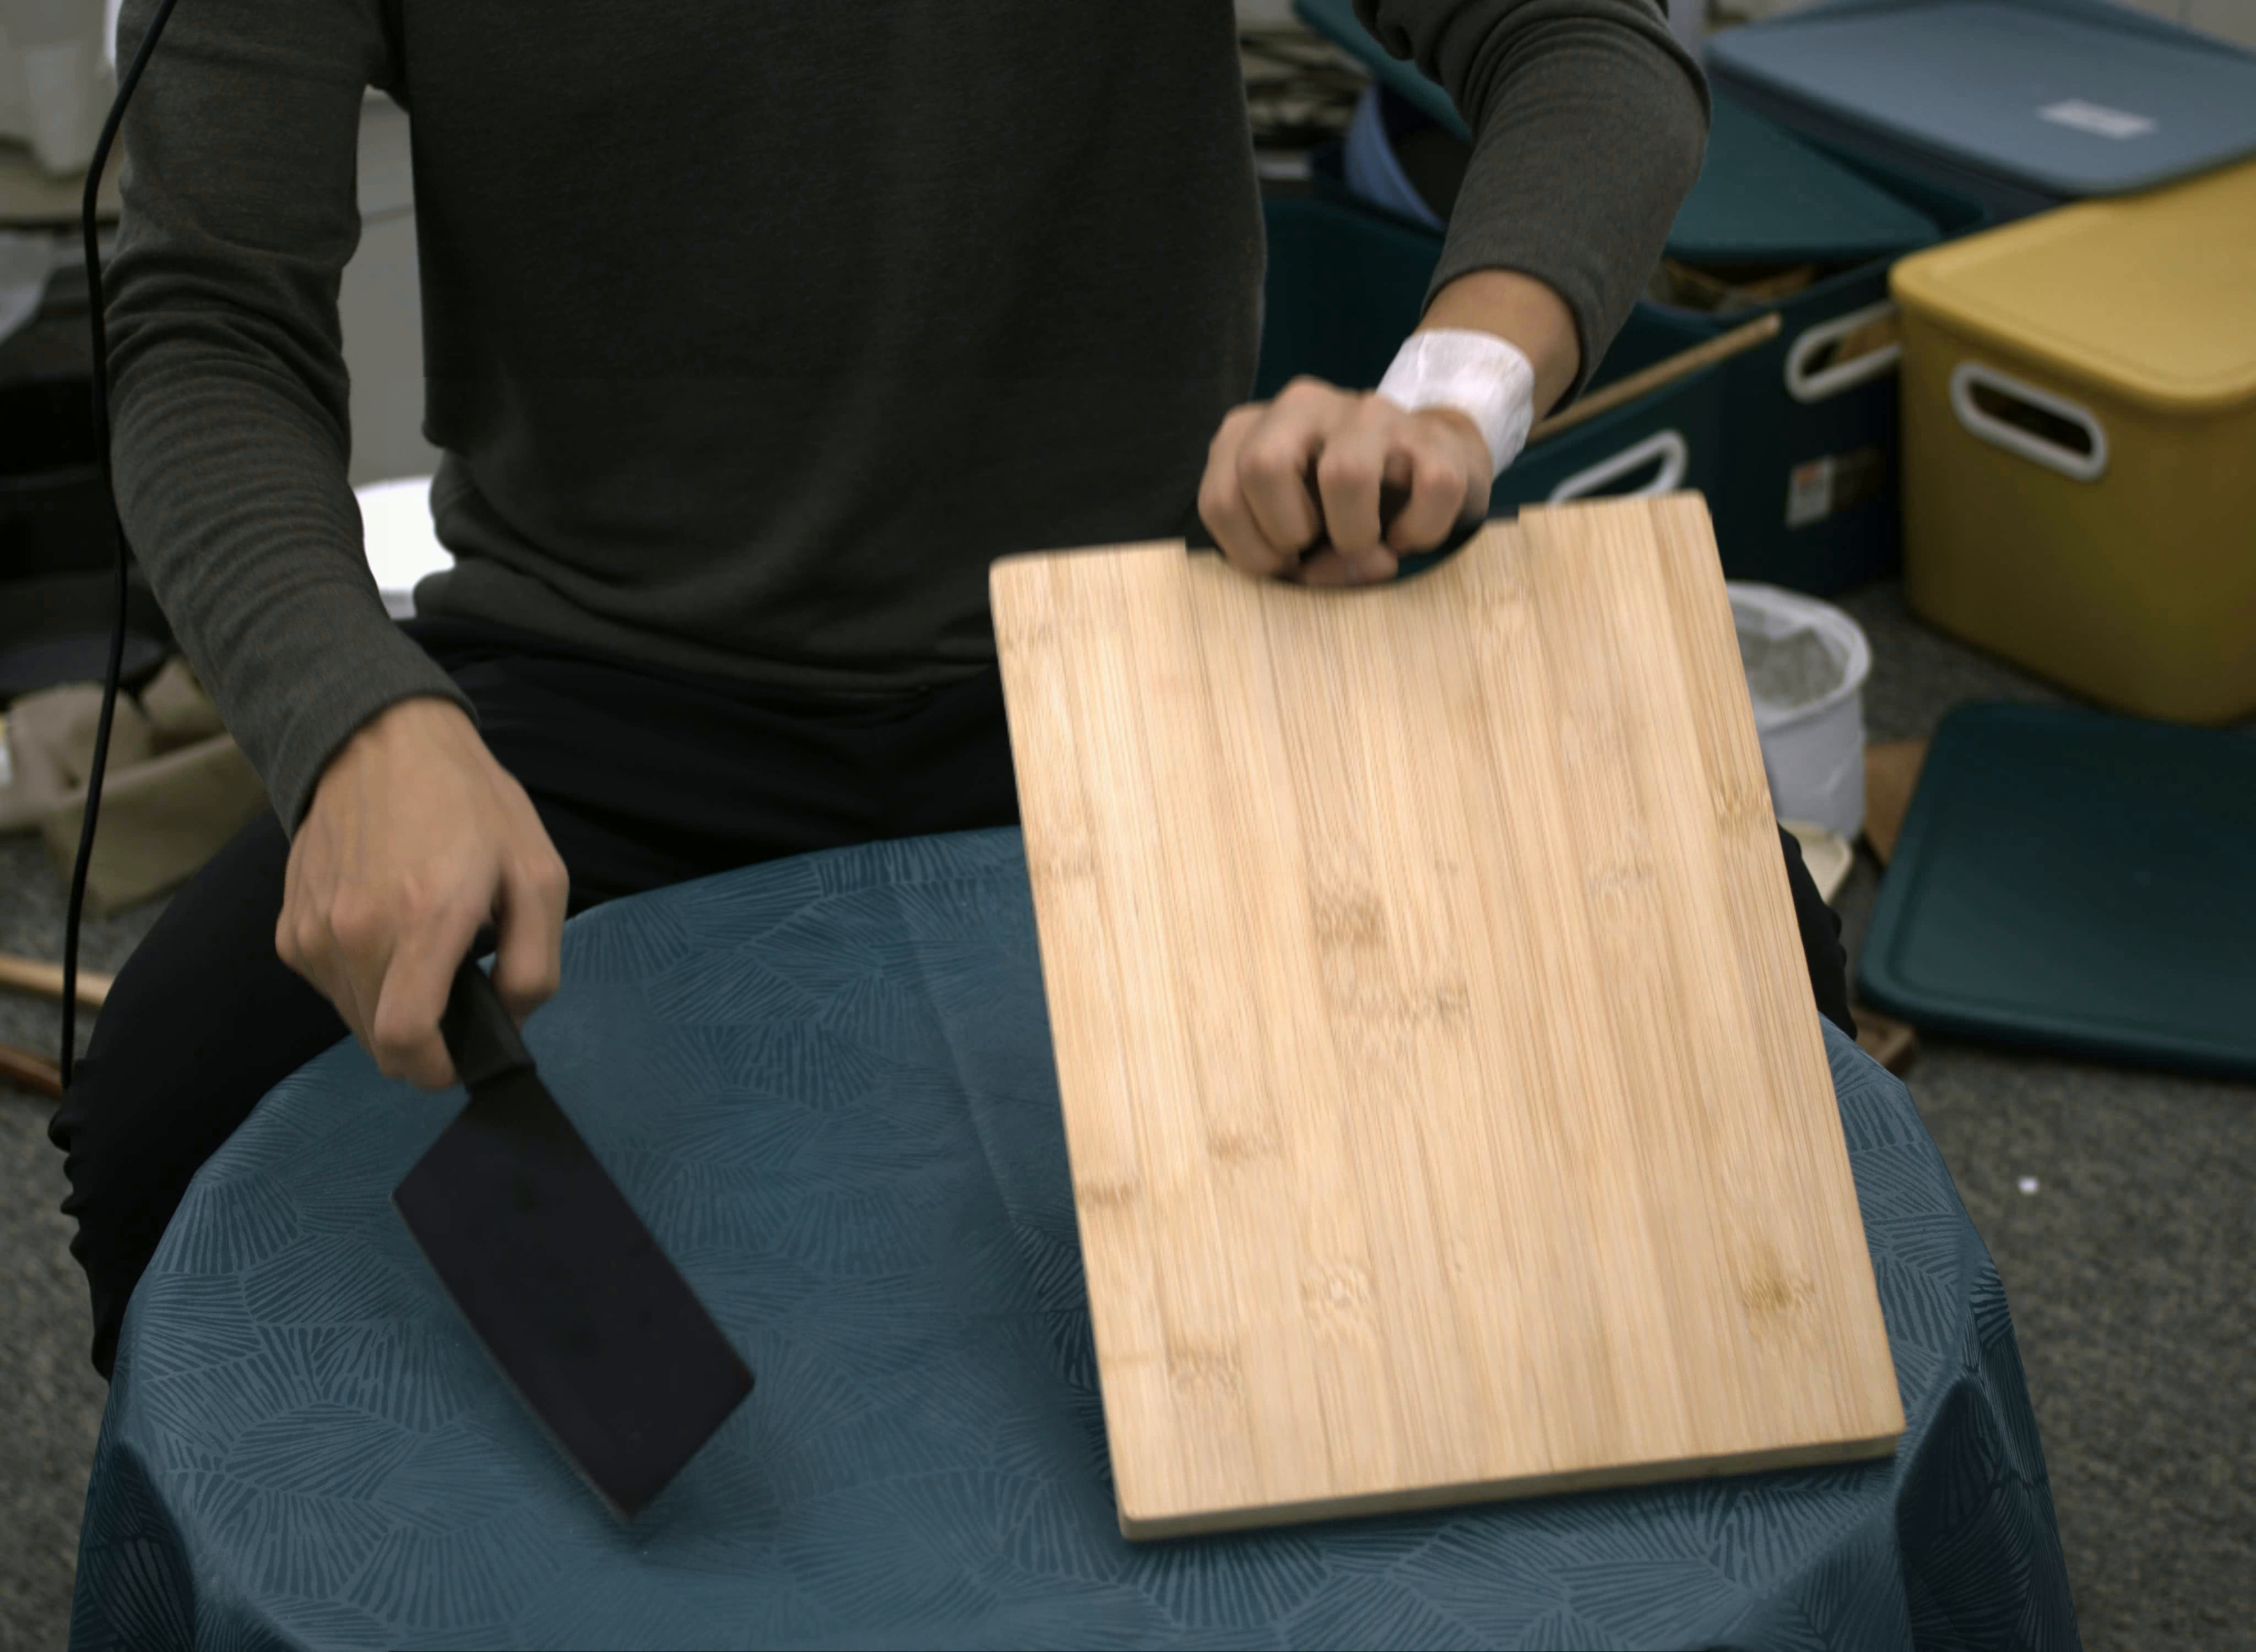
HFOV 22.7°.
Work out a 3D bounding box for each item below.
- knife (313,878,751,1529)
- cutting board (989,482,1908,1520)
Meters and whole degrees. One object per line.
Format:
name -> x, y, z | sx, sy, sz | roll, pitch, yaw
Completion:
knife -> -0.200, 0.112, 1.785 | 0.080, 0.021, 0.305 | -44, 44, 7
cutting board -> 0.094, 0.050, 1.775 | 0.250, 0.023, 0.355 | -6, 59, -7
